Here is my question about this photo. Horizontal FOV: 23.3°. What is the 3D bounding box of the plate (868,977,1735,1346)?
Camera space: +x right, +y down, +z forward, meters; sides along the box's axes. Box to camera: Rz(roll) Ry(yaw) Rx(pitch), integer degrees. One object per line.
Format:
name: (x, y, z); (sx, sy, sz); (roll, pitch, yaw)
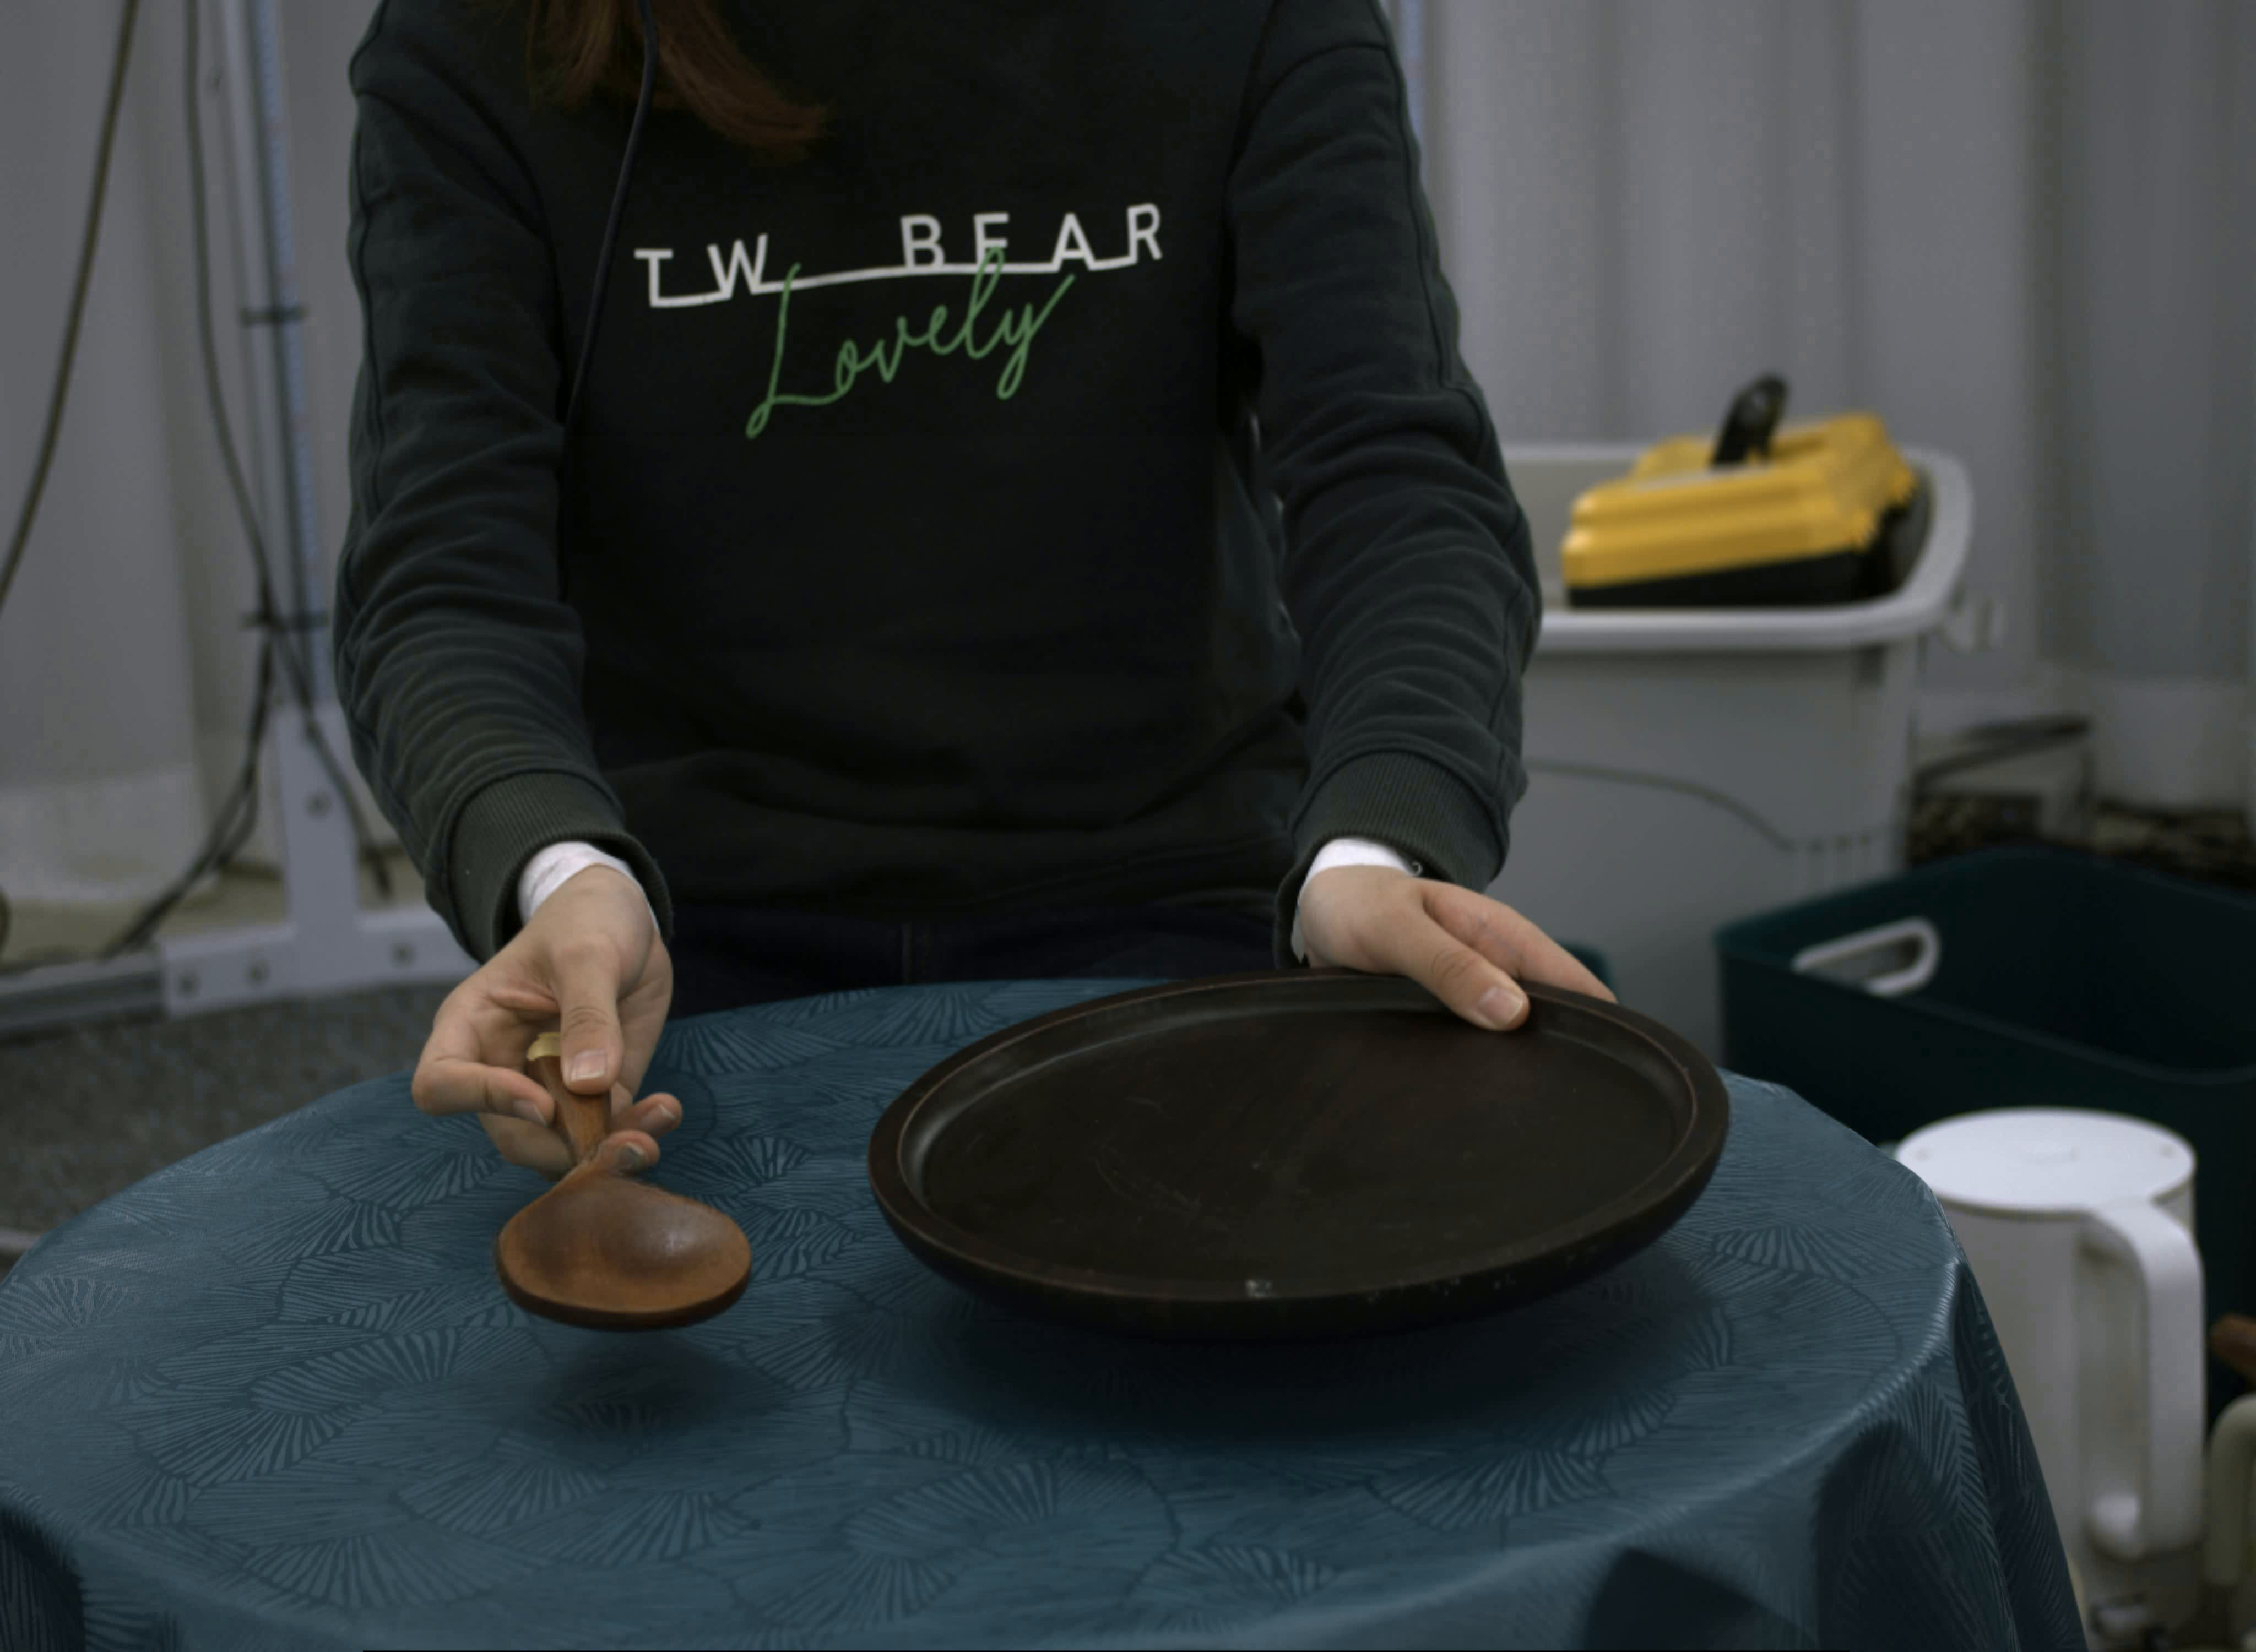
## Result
plate: (0.050, 0.095, 1.597); (0.254, 0.029, 0.257); (-3, 19, 1)

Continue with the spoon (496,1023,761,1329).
spoon: (-0.156, 0.104, 1.618); (0.075, 0.017, 0.218); (-3, 20, -12)
